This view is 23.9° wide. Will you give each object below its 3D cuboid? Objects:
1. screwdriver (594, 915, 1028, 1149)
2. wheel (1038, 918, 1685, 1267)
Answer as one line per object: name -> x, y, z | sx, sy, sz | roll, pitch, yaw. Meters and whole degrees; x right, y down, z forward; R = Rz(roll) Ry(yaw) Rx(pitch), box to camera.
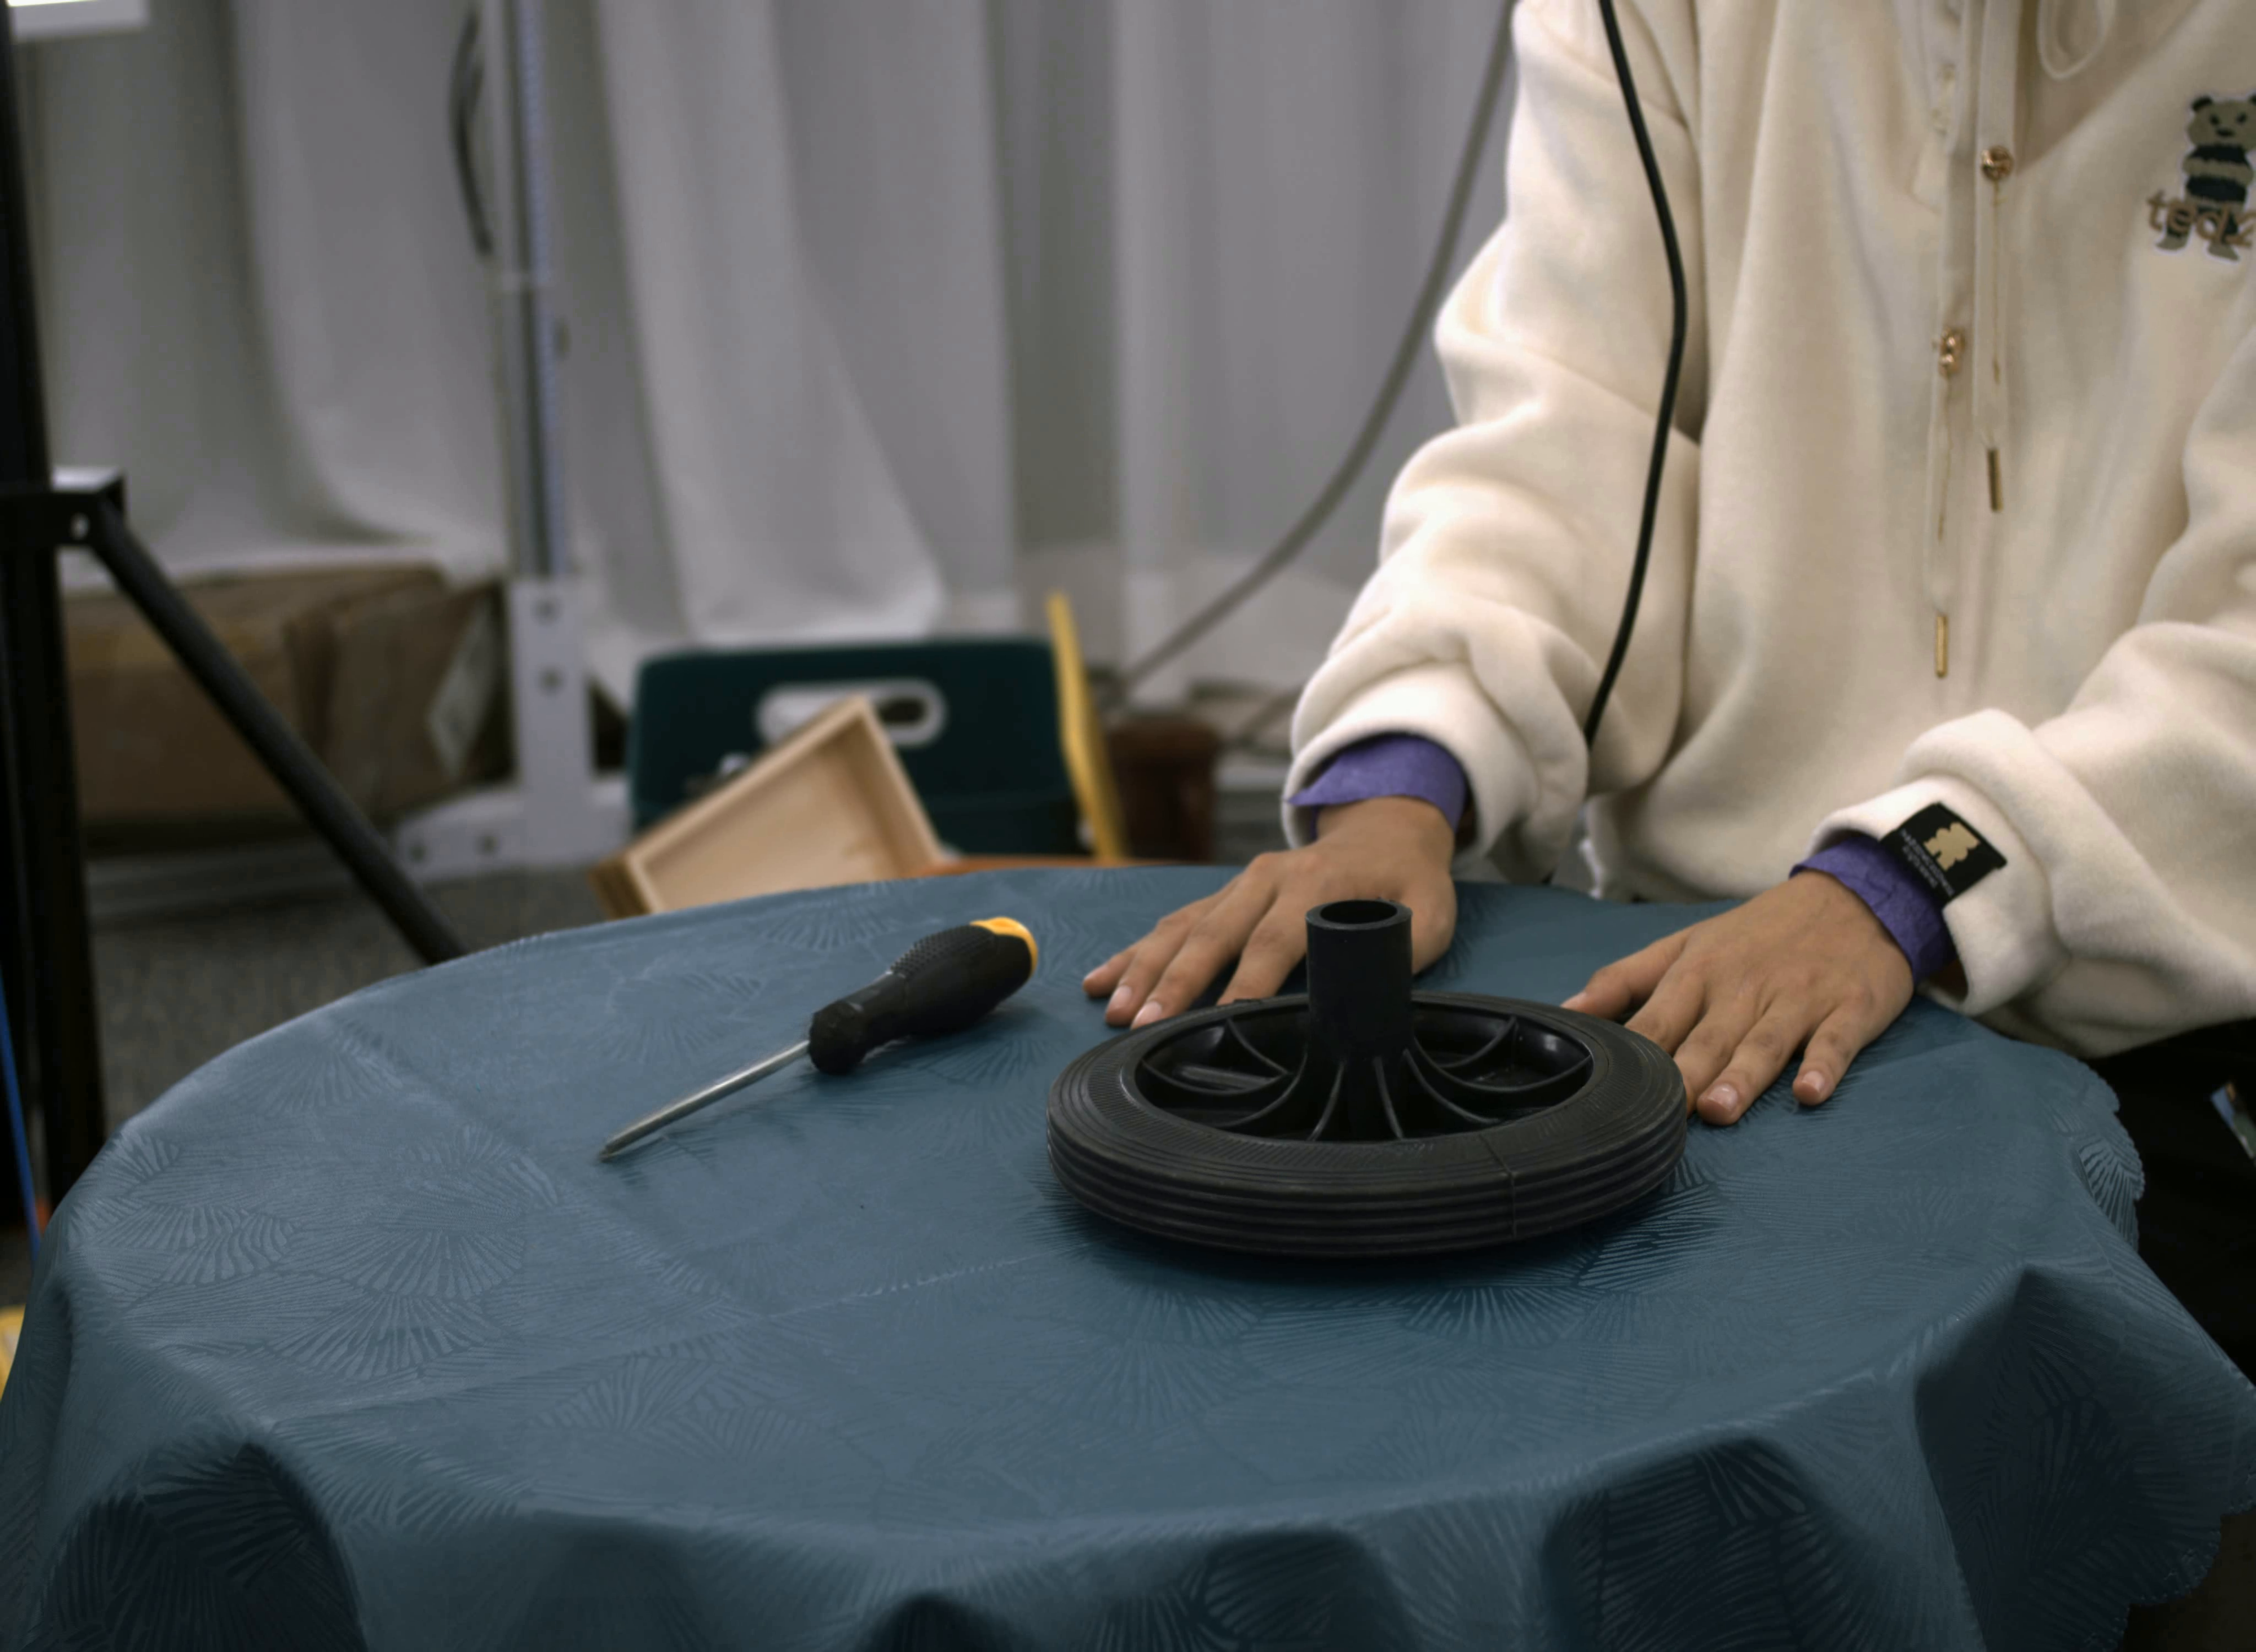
screwdriver -> -0.101, 0.066, 1.677 | 0.032, 0.031, 0.193 | 12, 24, 41
wheel -> 0.066, 0.069, 1.549 | 0.191, 0.079, 0.186 | -2, 15, 14
